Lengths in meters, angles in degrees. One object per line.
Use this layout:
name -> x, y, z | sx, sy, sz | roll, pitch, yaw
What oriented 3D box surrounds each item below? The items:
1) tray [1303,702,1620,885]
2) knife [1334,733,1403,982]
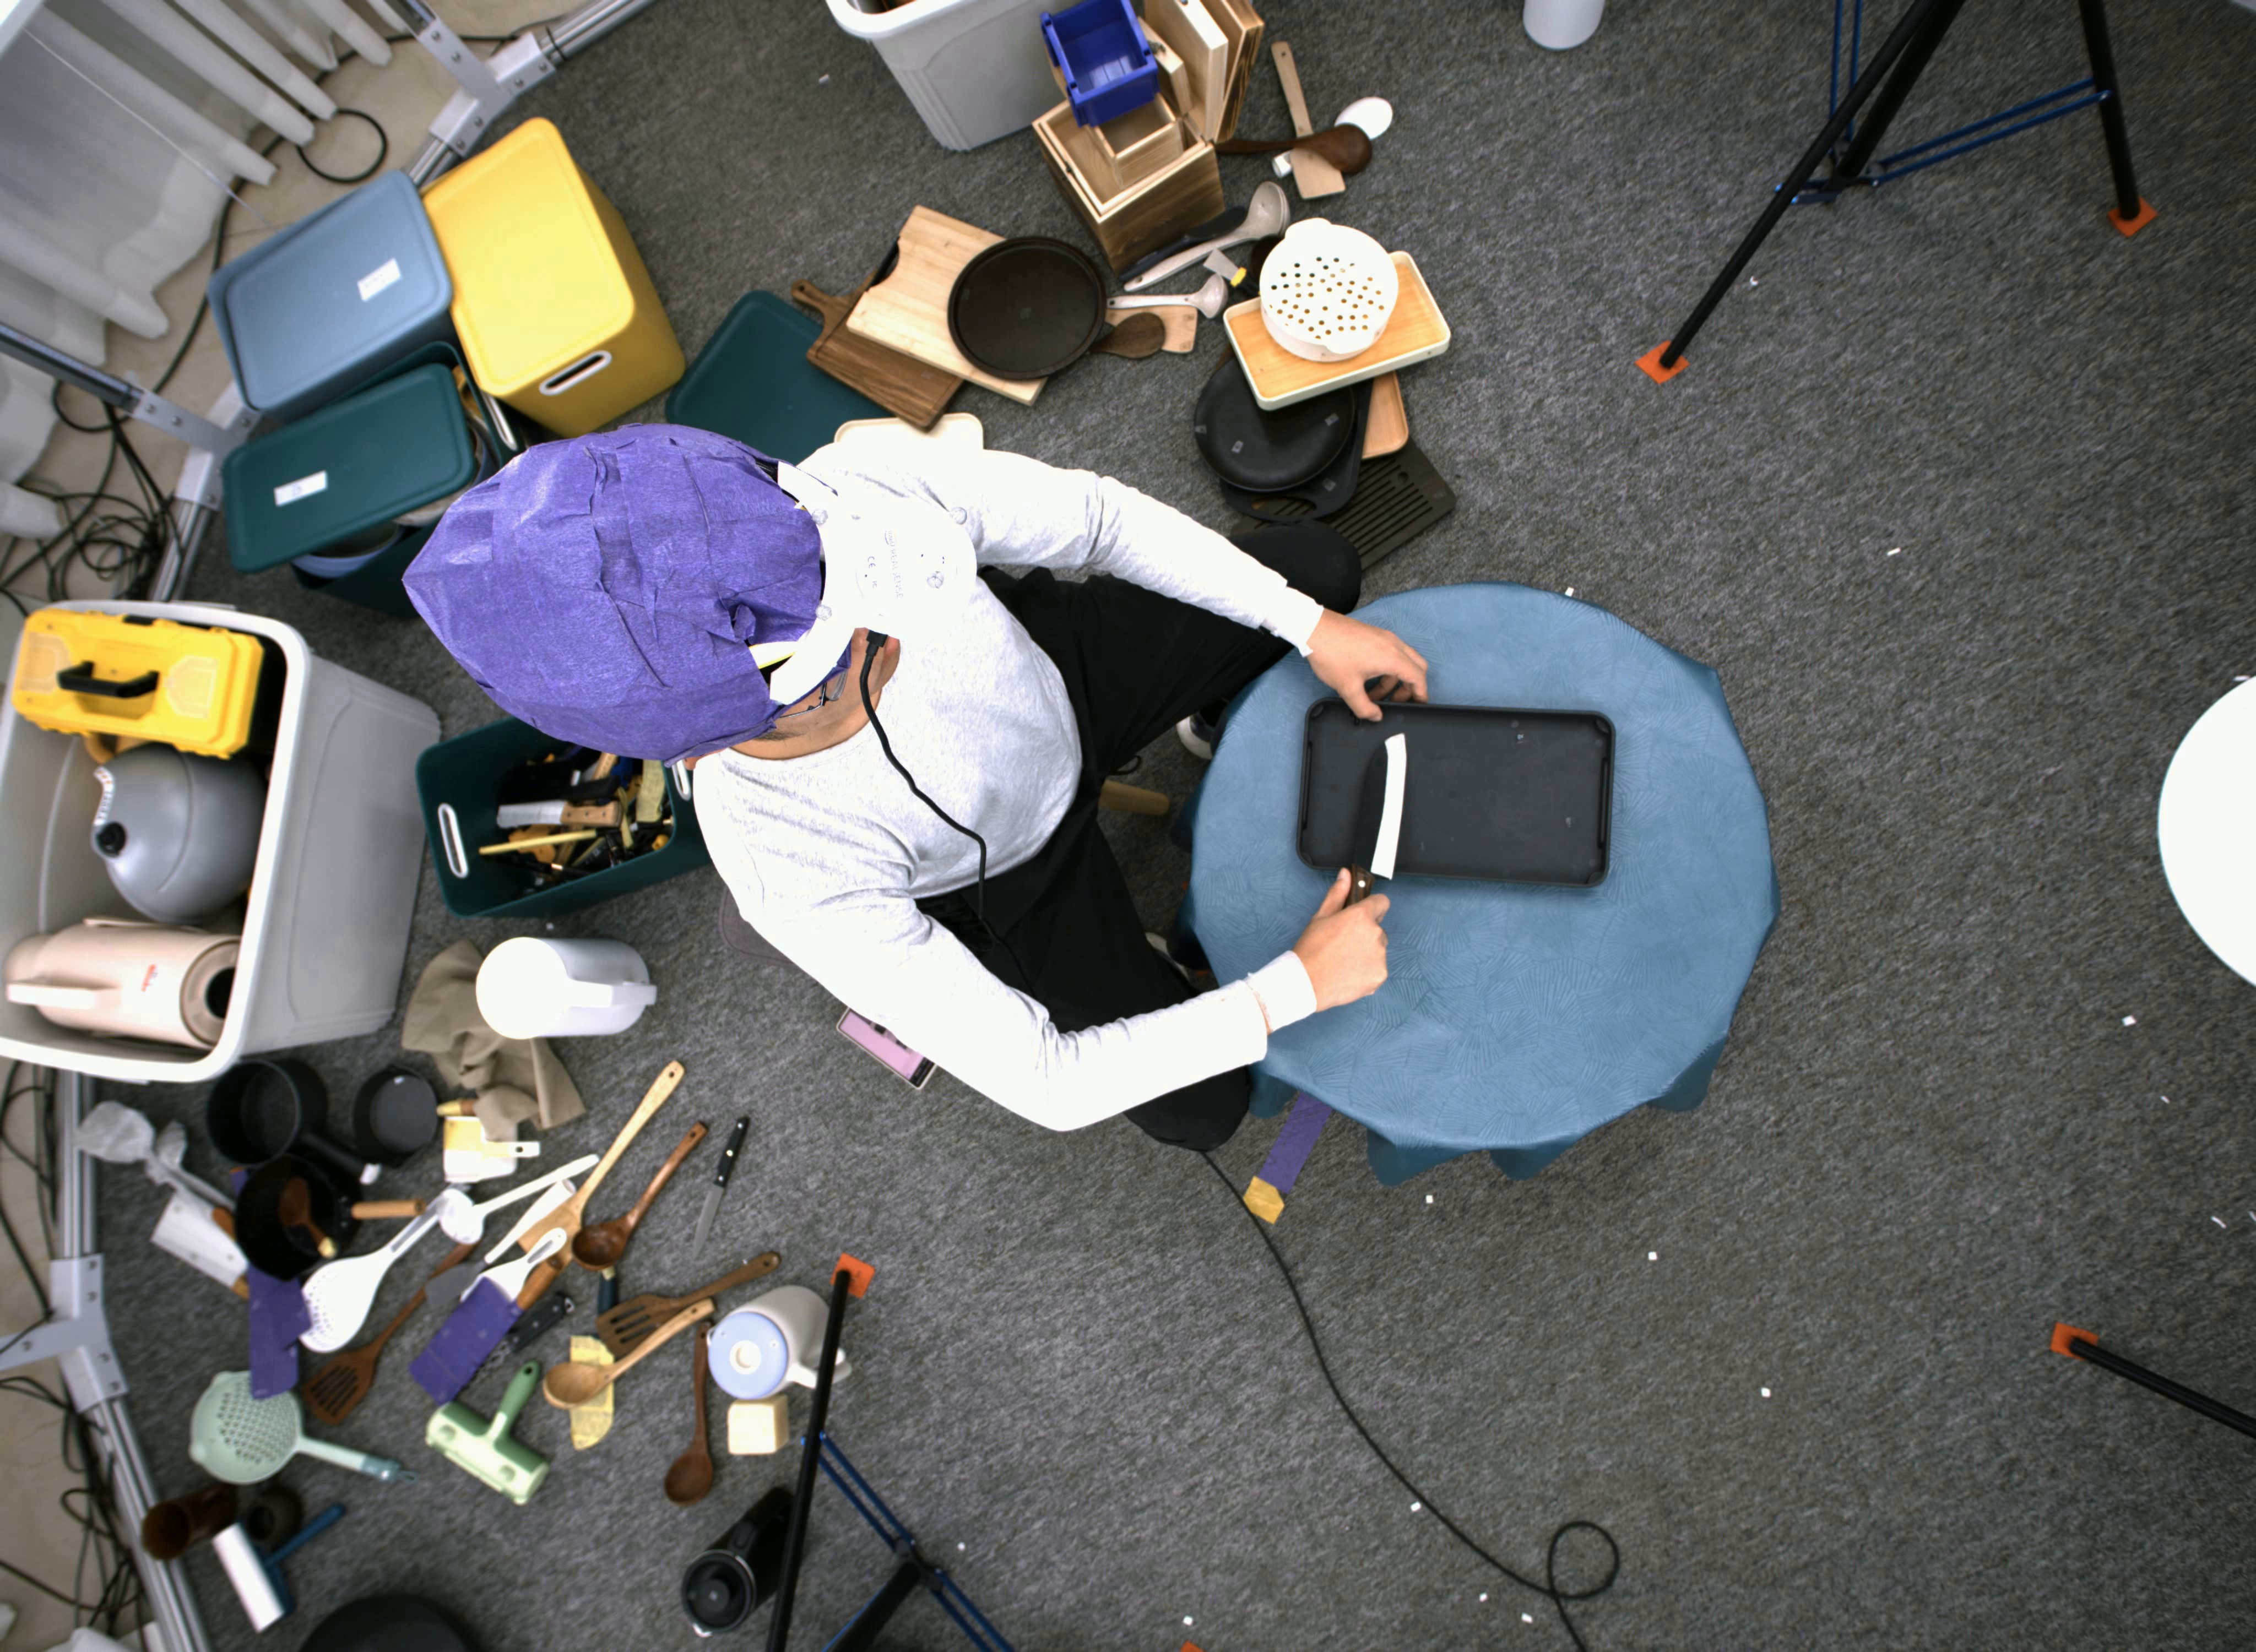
tray -> 0.345, -0.036, 1.434 | 0.319, 0.037, 0.183 | 2, 87, 11
knife -> 0.248, 0.026, 1.411 | 0.050, 0.020, 0.284 | 18, 70, -5
